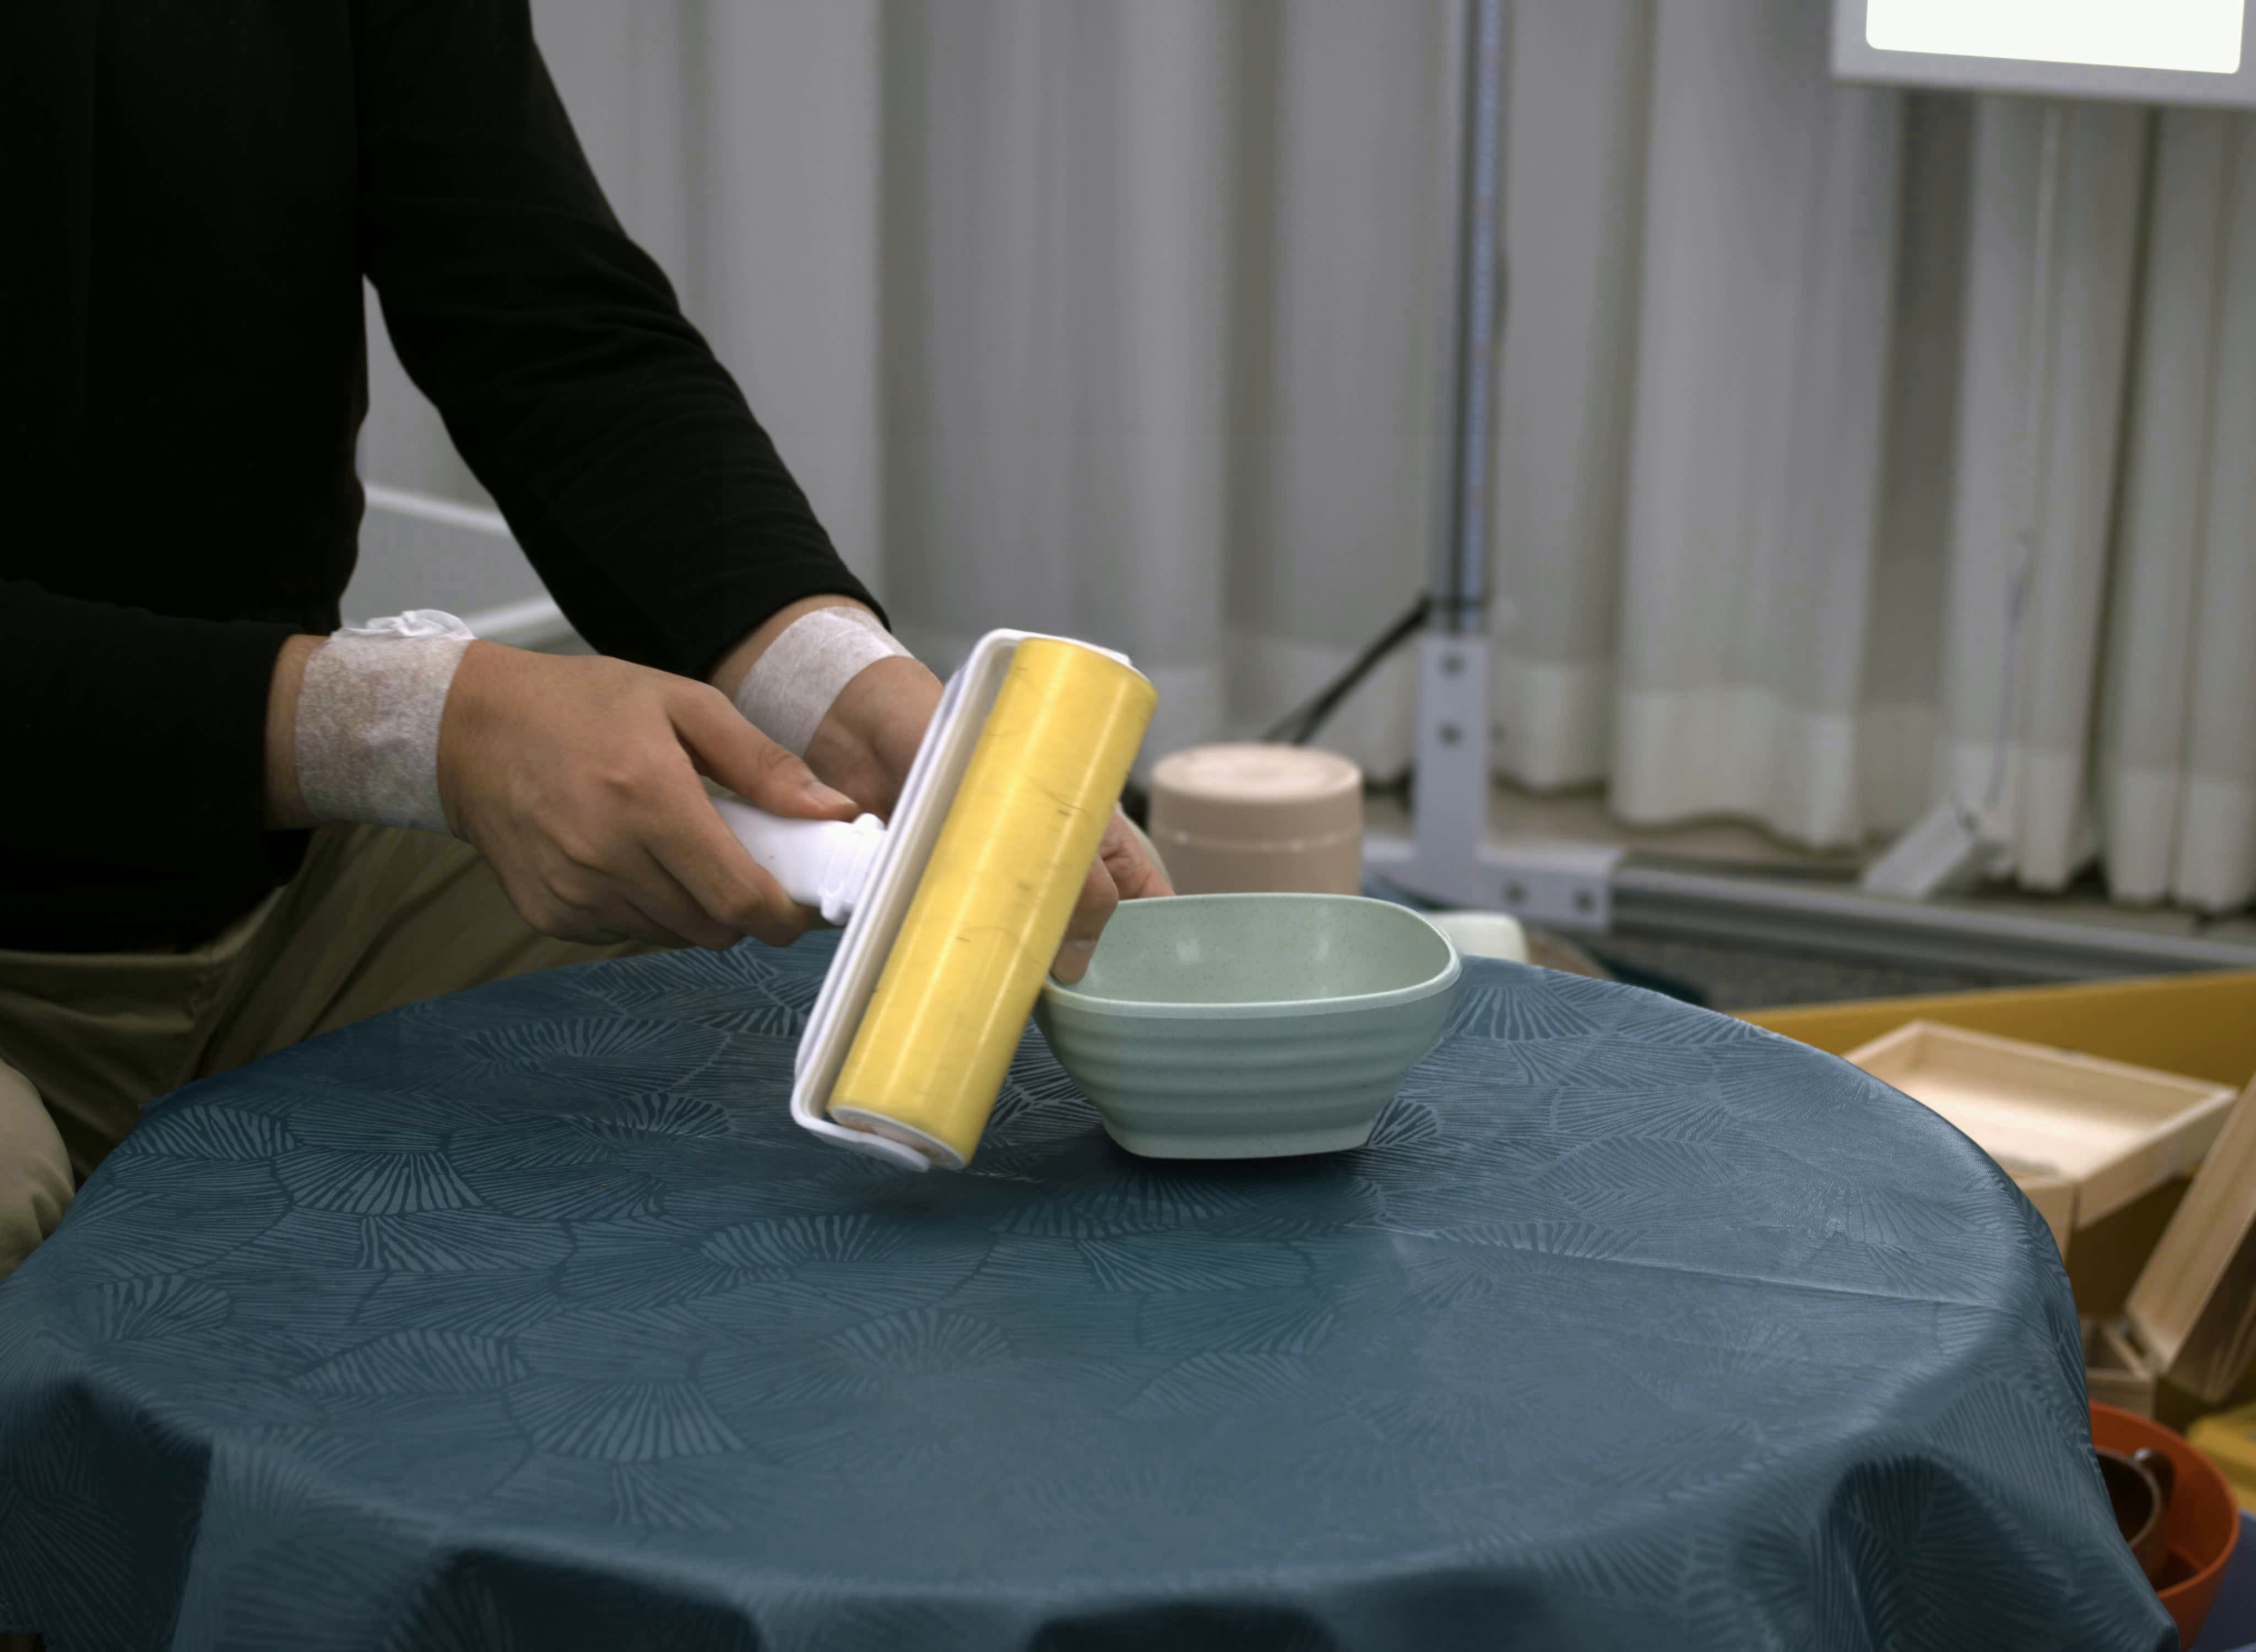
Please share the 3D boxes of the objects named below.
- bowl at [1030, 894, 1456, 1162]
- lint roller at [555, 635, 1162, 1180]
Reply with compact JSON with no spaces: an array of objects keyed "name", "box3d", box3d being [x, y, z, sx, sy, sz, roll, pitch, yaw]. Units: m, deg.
[{"name":"bowl","box3d":[0.033,0.066,1.660,0.151,0.059,0.151,1,14,0]},{"name":"lint roller","box3d":[-0.102,0.010,1.640,0.190,0.174,0.052,14,-17,21]}]
